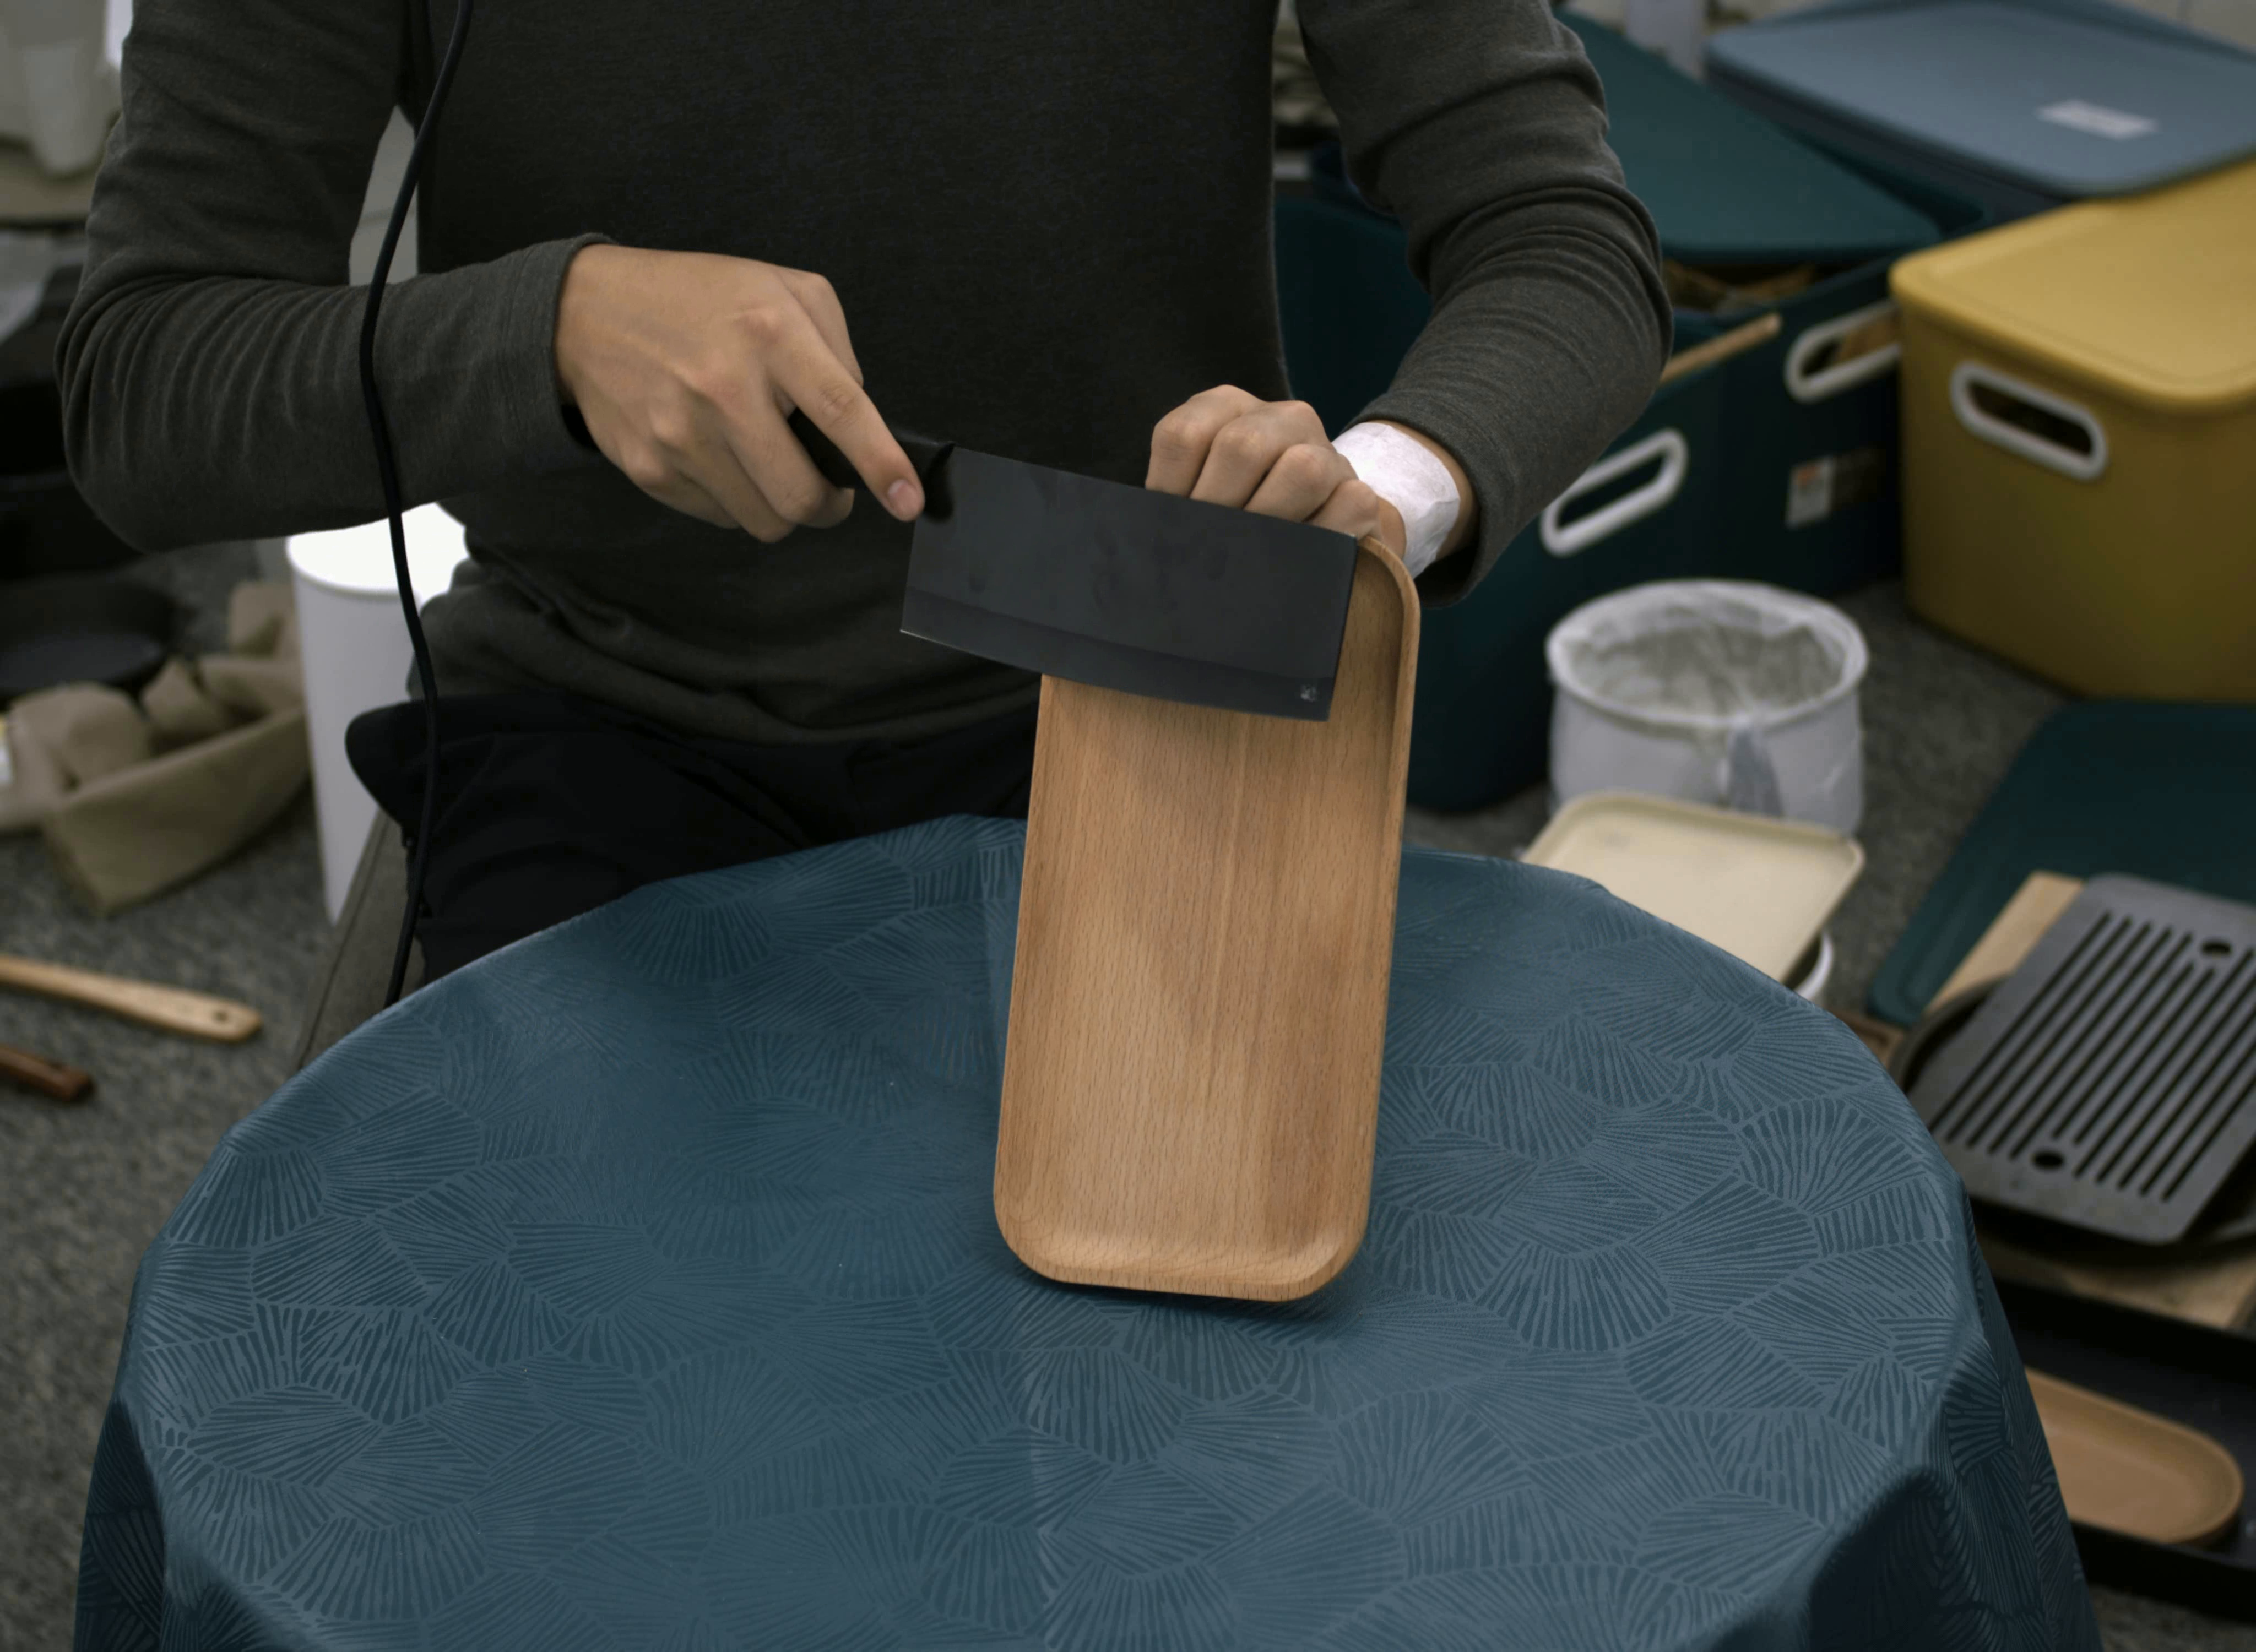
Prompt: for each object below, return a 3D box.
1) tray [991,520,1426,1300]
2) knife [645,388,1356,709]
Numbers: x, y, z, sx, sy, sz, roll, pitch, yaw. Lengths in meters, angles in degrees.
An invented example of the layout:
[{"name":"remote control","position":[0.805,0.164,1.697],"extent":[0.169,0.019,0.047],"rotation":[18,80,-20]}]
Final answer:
[{"name":"tray","position":[0.027,0.025,1.817],"extent":[0.129,0.253,0.023],"rotation":[4,-9,18]},{"name":"knife","position":[-0.047,-0.096,1.857],"extent":[0.301,0.081,0.021],"rotation":[19,9,36]}]
